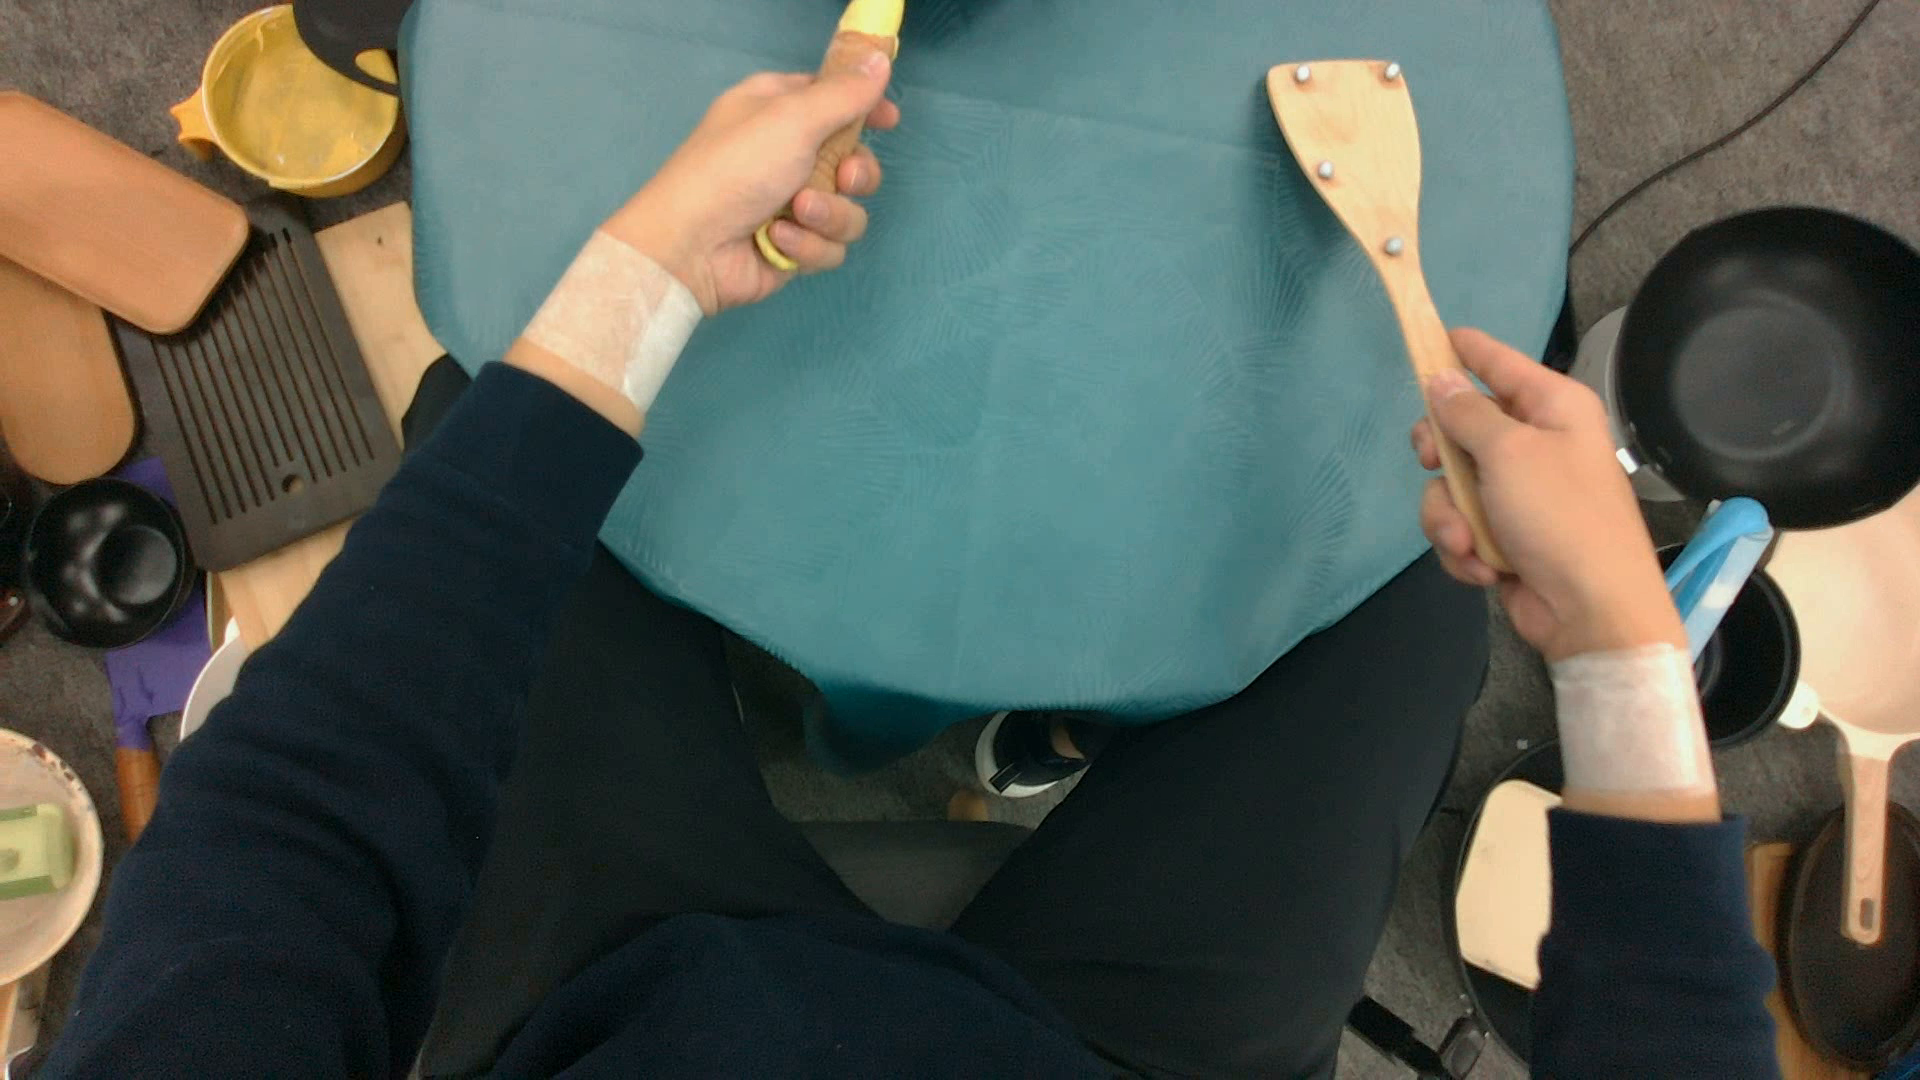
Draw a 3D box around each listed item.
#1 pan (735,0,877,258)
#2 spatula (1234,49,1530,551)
[{"bbox_3d":[-0.048,-0.262,0.634,0.169,0.049,0.325,19,69,-6],"label":"pan"},{"bbox_3d":[0.194,-0.128,0.630,0.080,0.016,0.329,1,51,-11],"label":"spatula"}]
